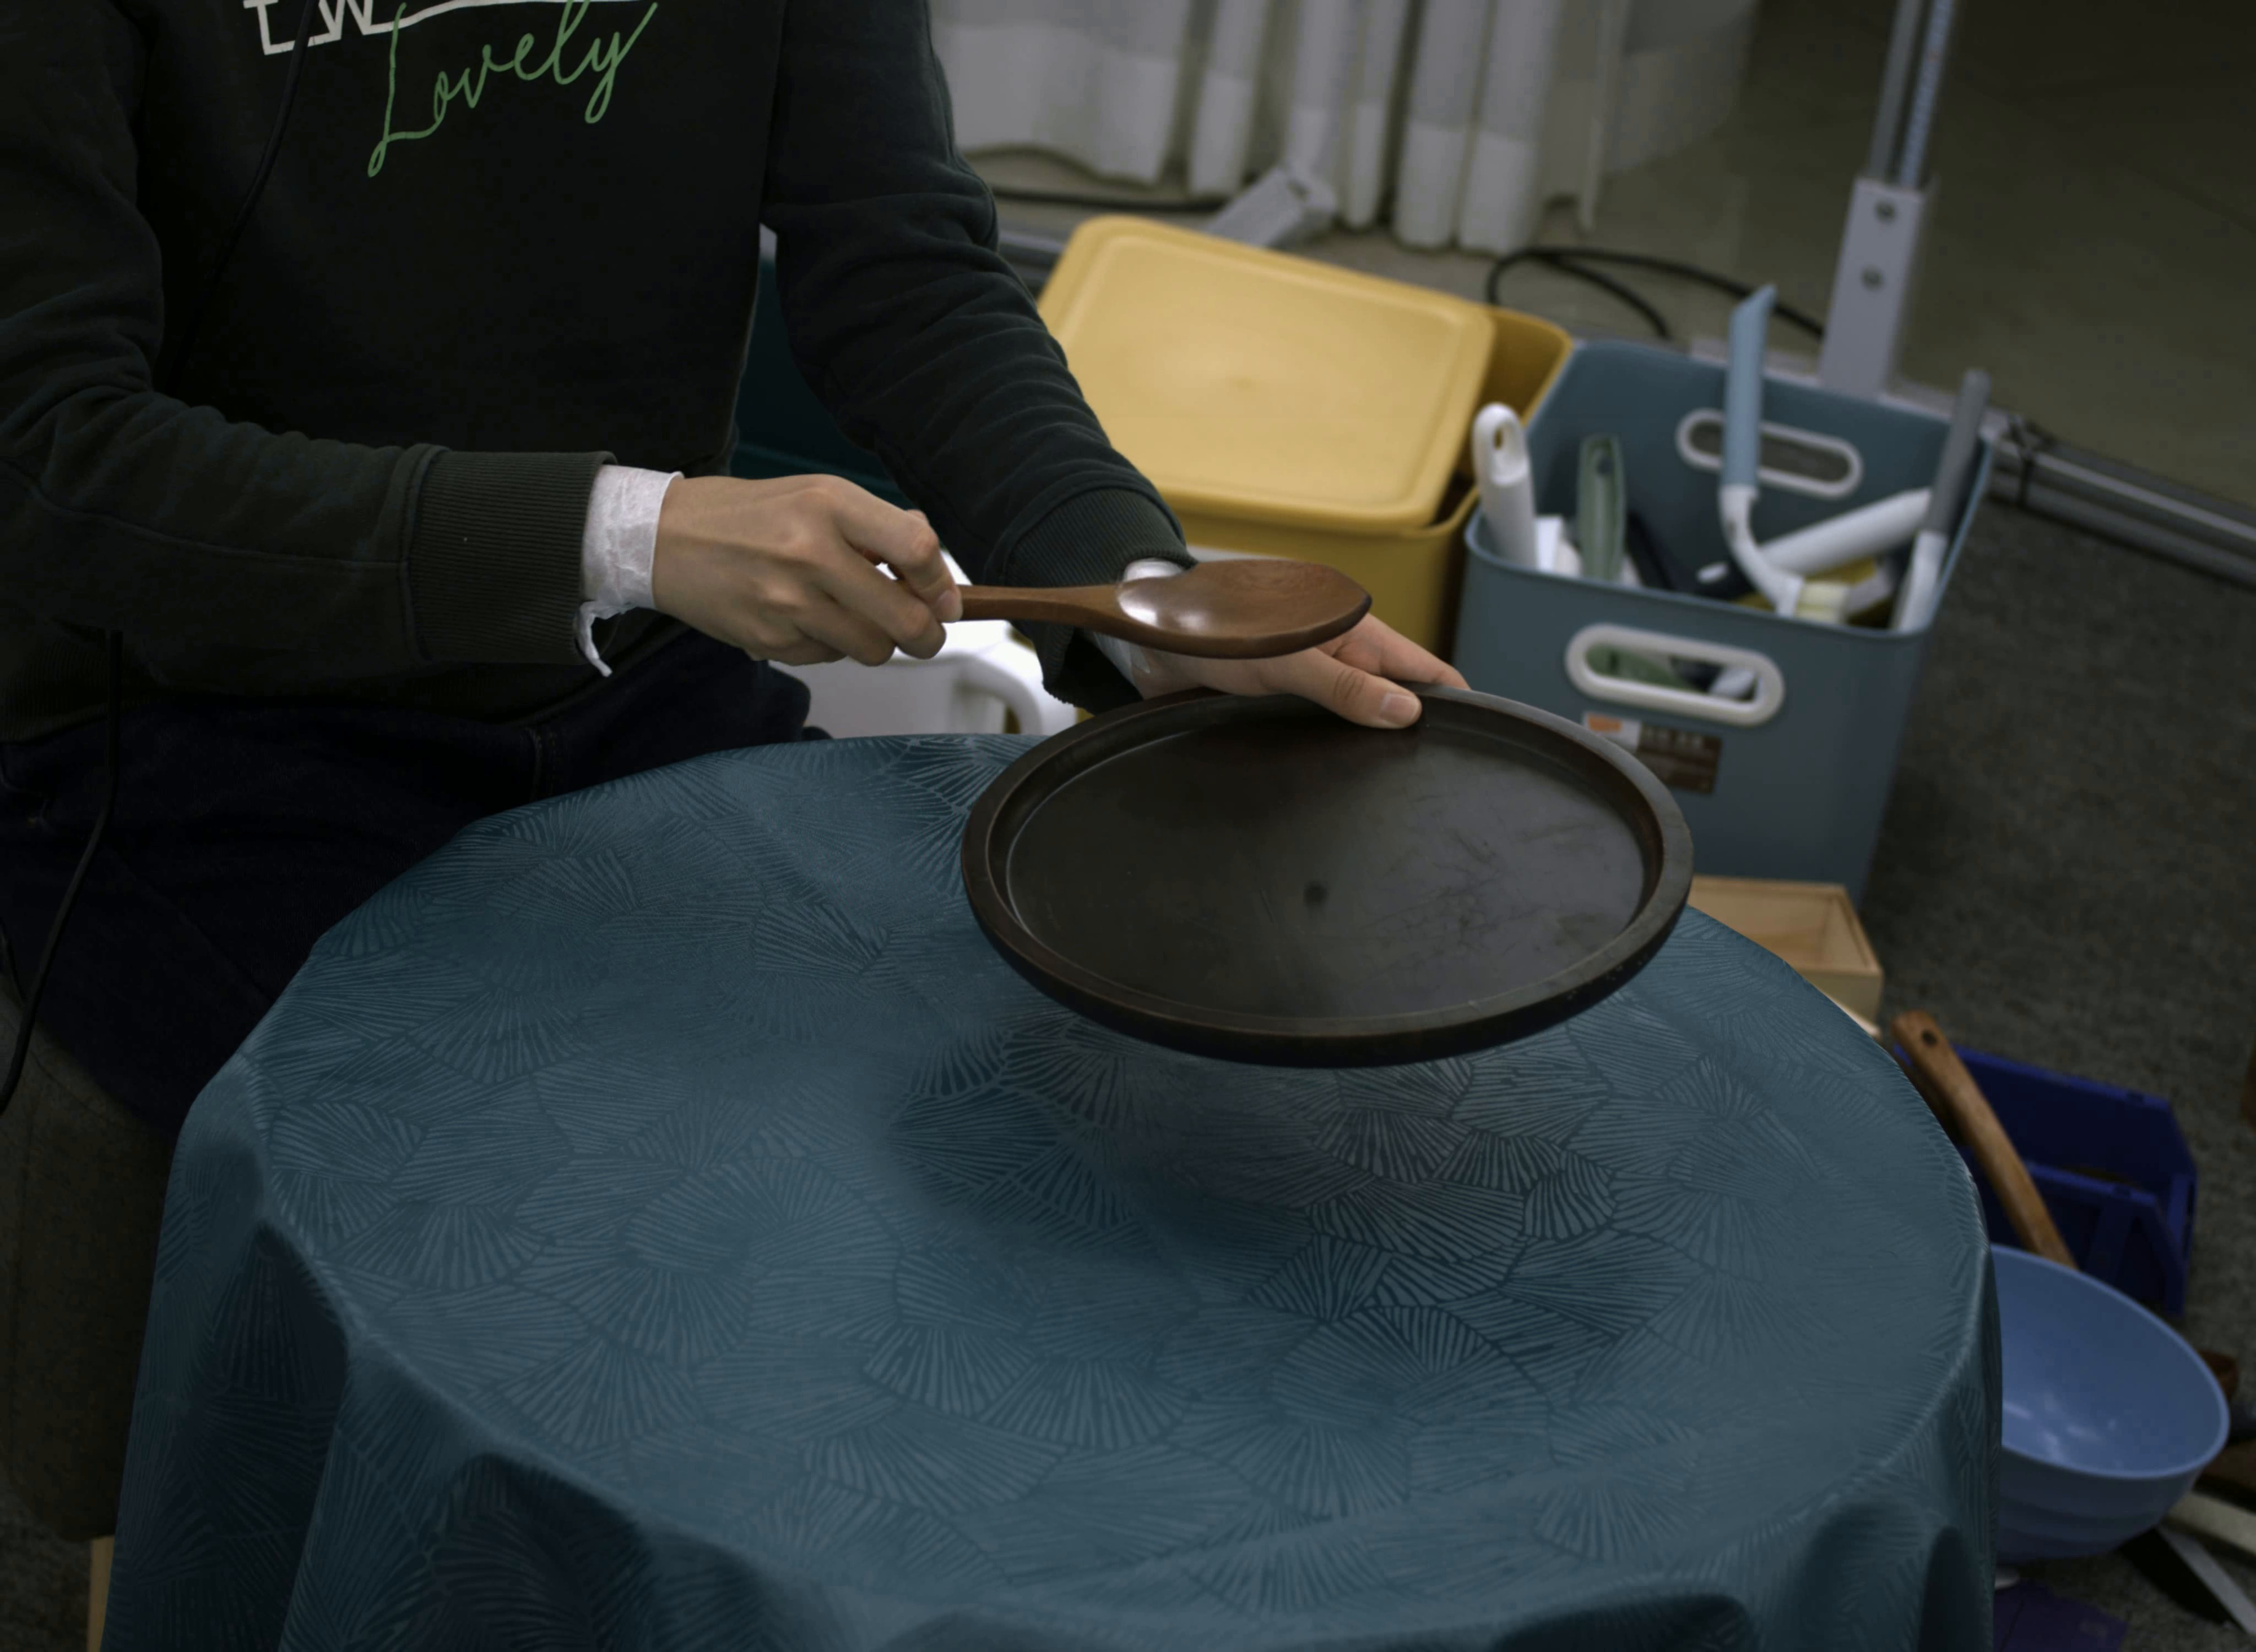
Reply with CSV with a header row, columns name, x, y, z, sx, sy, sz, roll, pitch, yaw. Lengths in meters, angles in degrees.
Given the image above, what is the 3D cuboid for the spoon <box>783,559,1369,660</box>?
name,x,y,z,sx,sy,sz,roll,pitch,yaw
spoon,-0.020,-0.076,1.880,0.216,0.017,0.075,3,25,18

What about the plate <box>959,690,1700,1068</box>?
name,x,y,z,sx,sy,sz,roll,pitch,yaw
plate,0.069,0.016,1.828,0.254,0.029,0.256,0,29,0
